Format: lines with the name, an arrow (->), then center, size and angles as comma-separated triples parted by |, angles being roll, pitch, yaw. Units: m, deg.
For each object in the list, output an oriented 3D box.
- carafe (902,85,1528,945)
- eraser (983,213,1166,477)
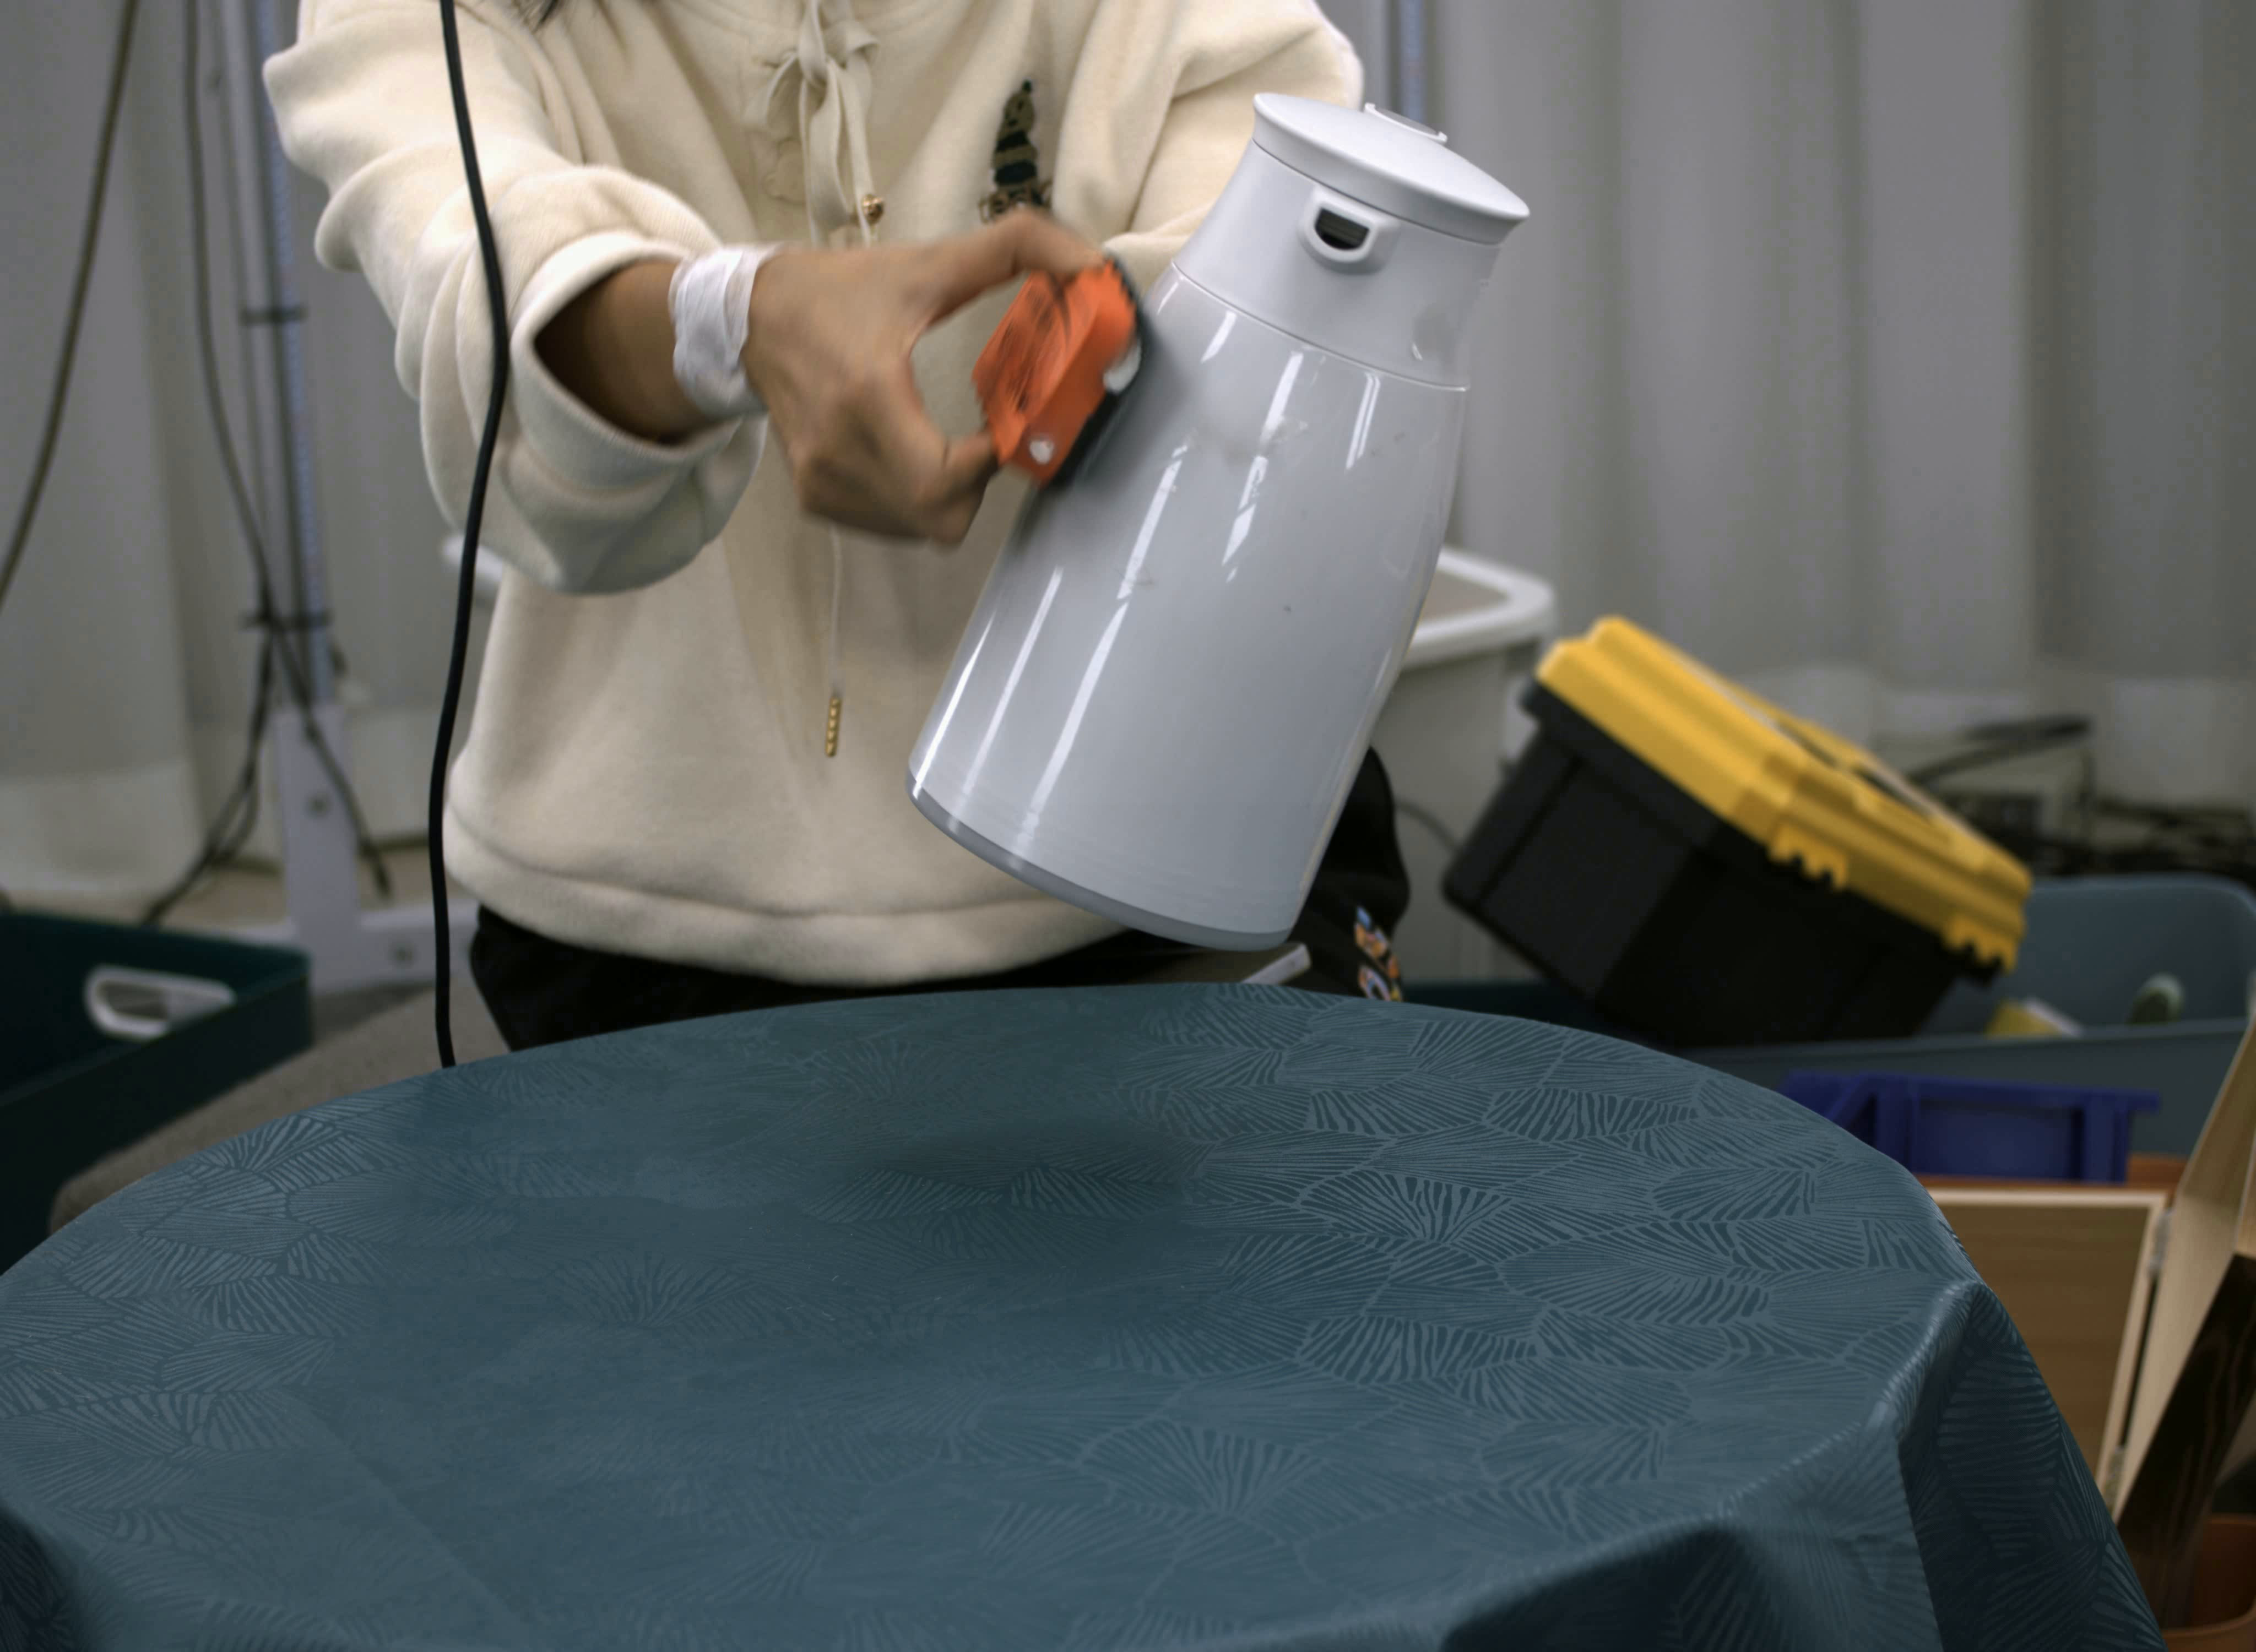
carafe -> 0.038, -0.107, 1.712 | 0.132, 0.248, 0.168 | 23, 12, 4
eraser -> -0.017, -0.148, 1.672 | 0.023, 0.059, 0.109 | 30, 13, -16
